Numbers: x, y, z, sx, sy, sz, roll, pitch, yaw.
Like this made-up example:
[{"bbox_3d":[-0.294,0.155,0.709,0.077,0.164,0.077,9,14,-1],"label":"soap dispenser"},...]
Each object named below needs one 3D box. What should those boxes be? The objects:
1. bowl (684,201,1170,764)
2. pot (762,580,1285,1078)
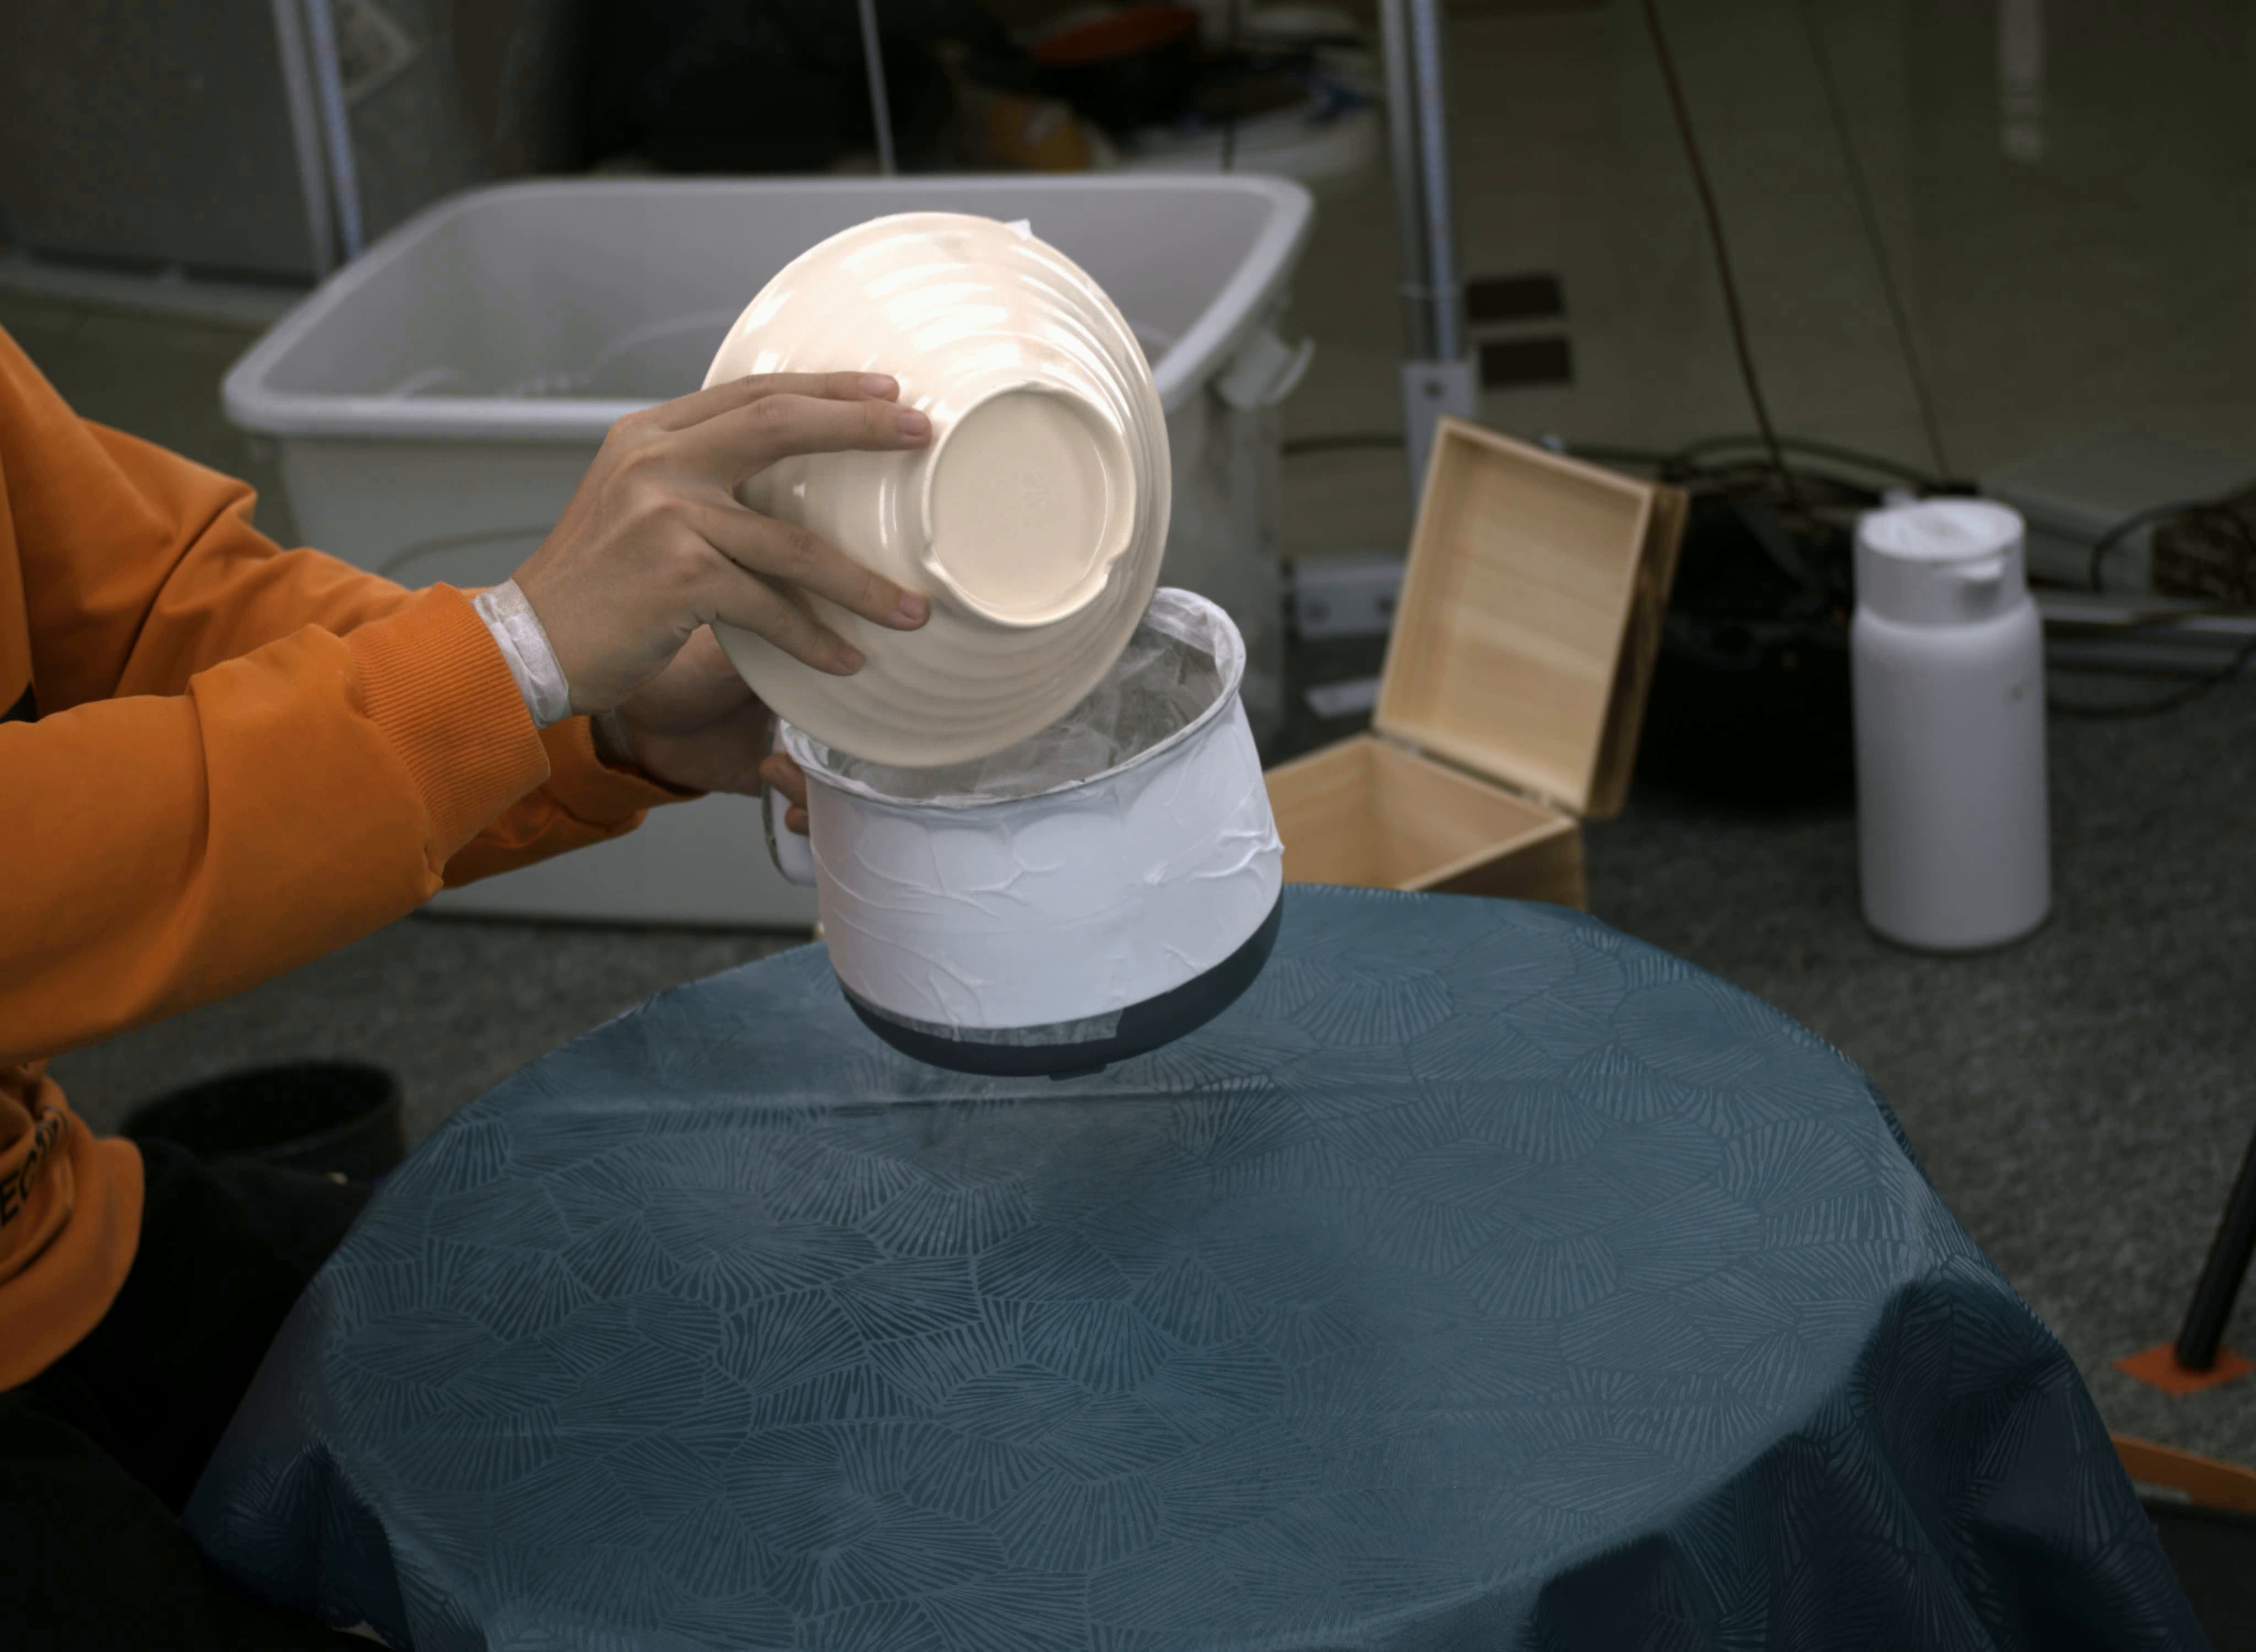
[{"bbox_3d":[-0.052,-0.120,2.018,0.203,0.206,0.077,-21,19,-29],"label":"bowl"},{"bbox_3d":[-0.054,-0.005,2.159,0.232,0.139,0.177,16,38,38],"label":"pot"}]
